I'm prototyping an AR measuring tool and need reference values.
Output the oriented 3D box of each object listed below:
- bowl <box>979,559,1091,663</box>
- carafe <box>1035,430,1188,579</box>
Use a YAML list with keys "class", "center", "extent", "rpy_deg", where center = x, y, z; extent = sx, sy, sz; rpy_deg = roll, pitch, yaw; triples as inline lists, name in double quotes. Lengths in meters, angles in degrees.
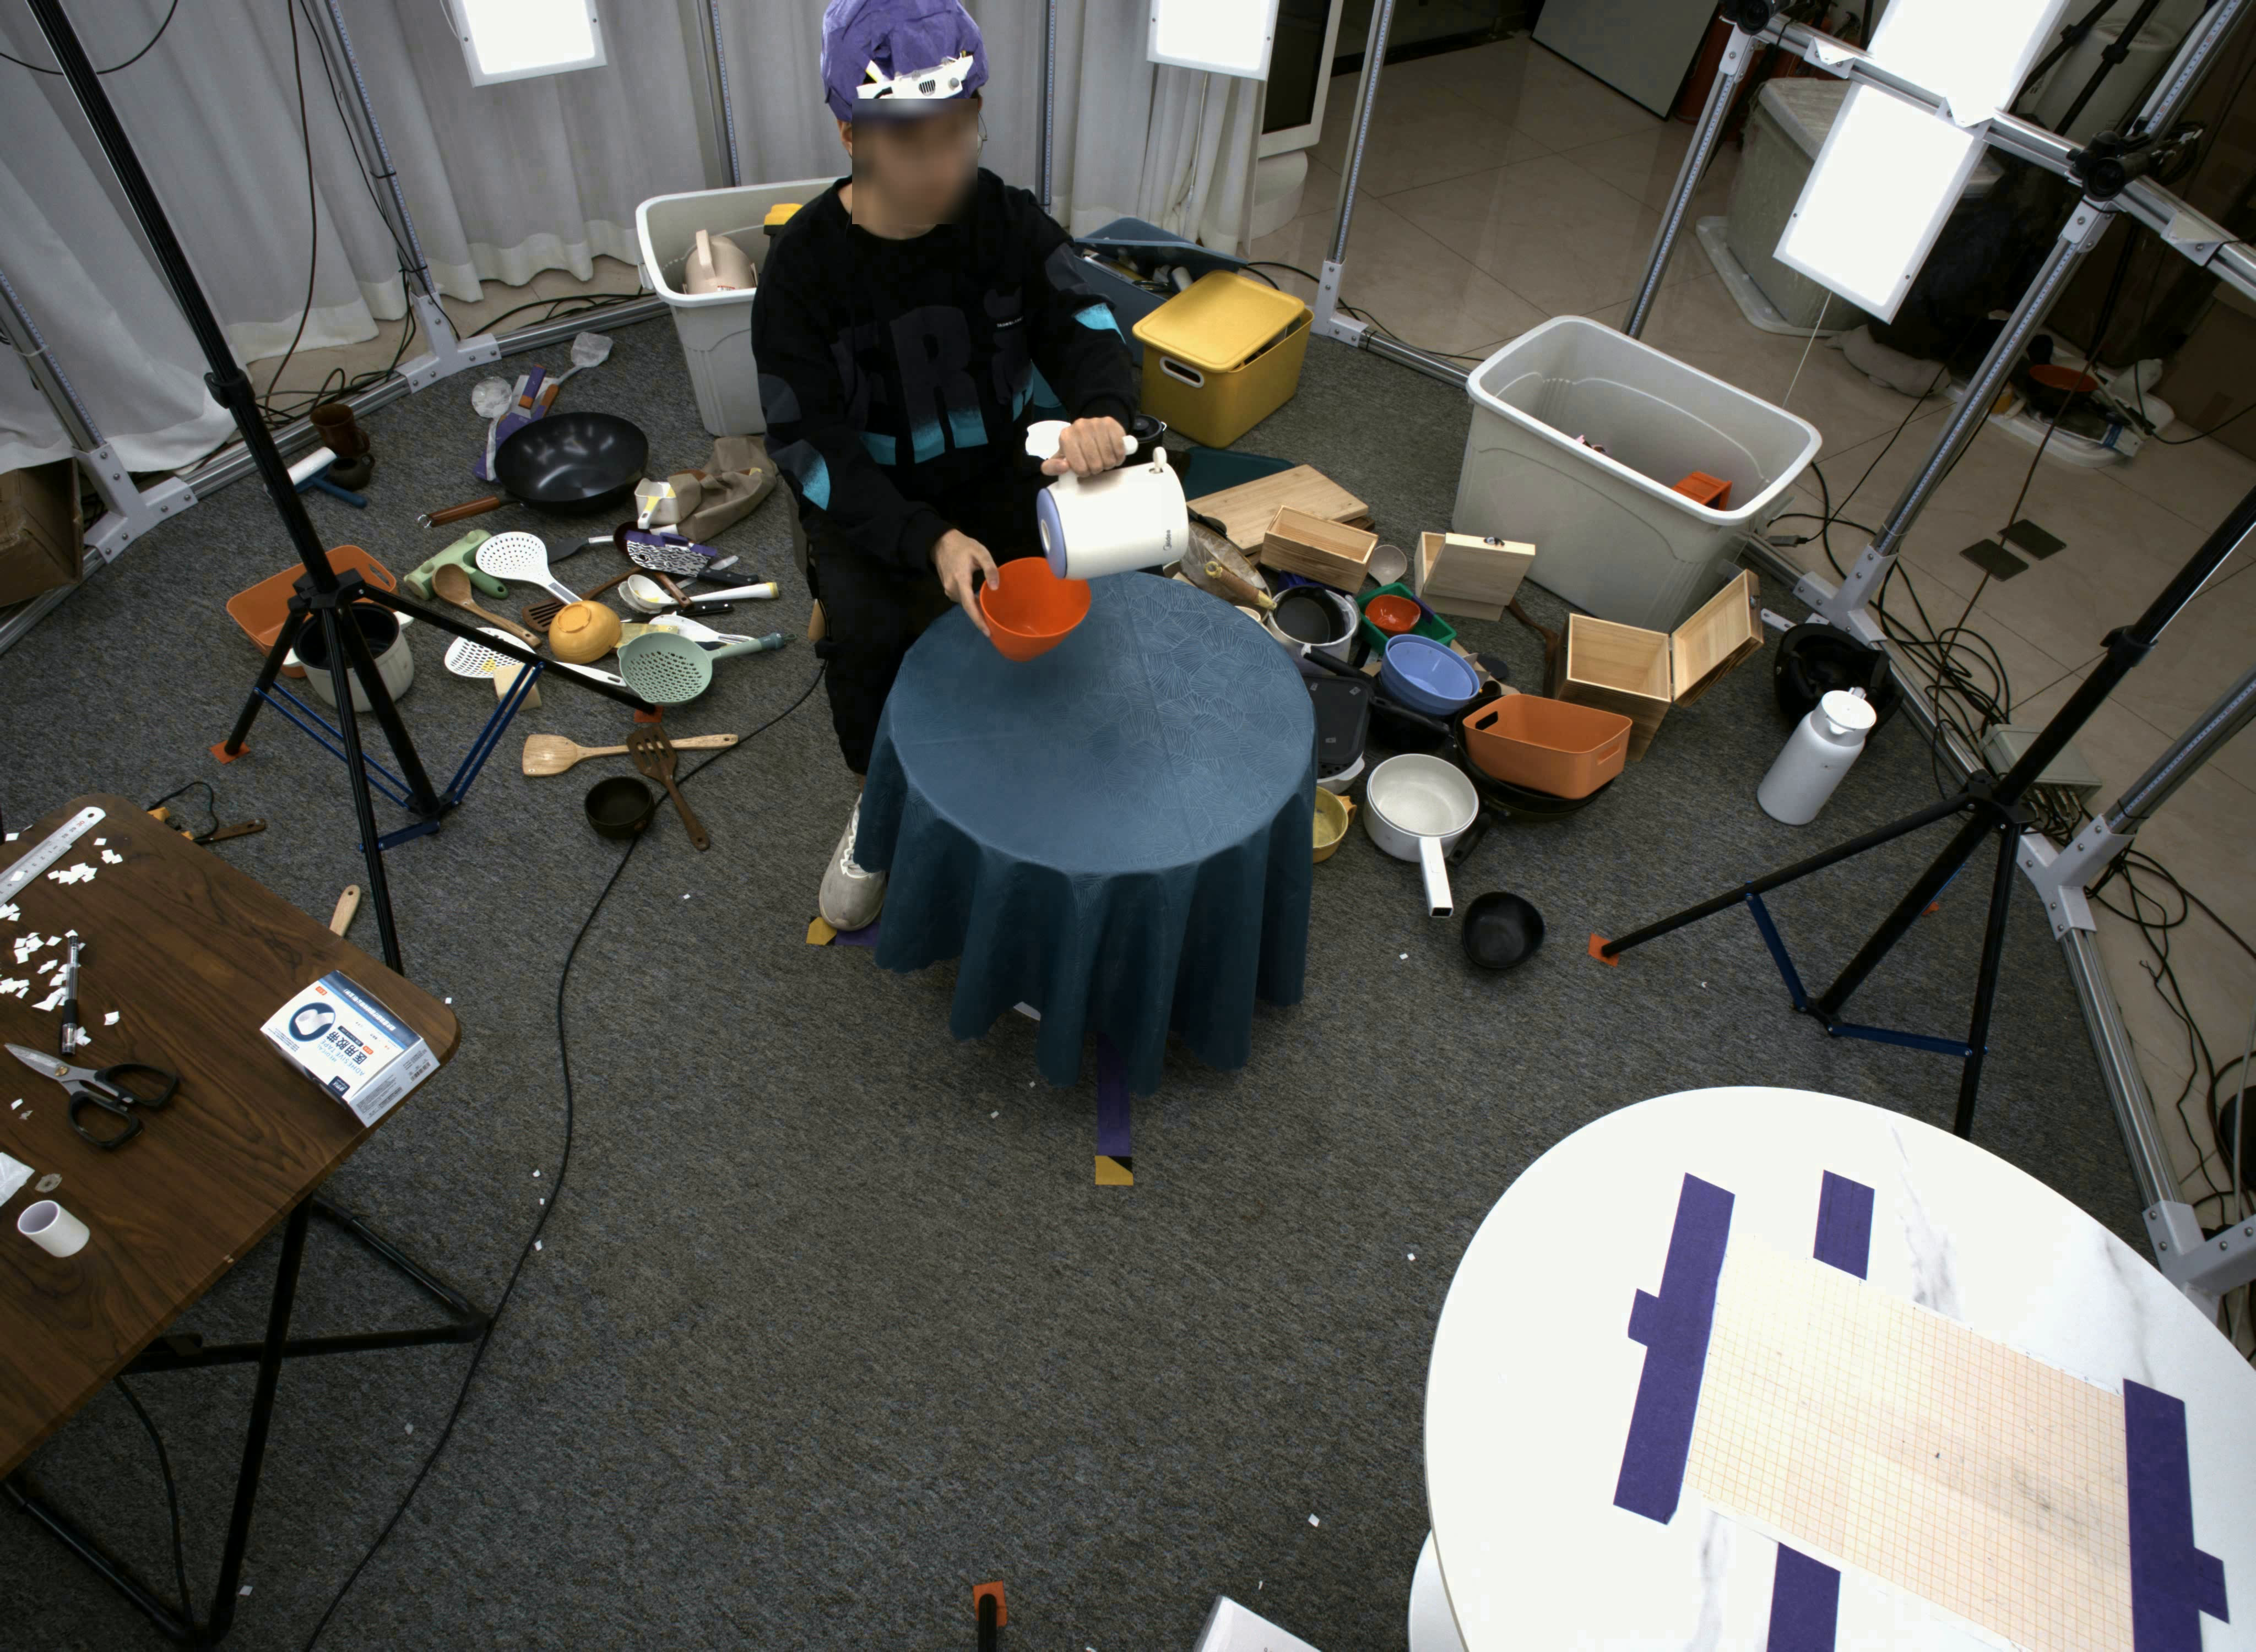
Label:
- class: "bowl"
  center: [-0.132, -0.282, 1.756]
  extent: [0.147, 0.102, 0.151]
  rpy_deg: [8, 51, -10]
- class: "carafe"
  center: [-0.022, -0.414, 1.657]
  extent: [0.182, 0.186, 0.135]
  rpy_deg: [-12, 44, -14]
